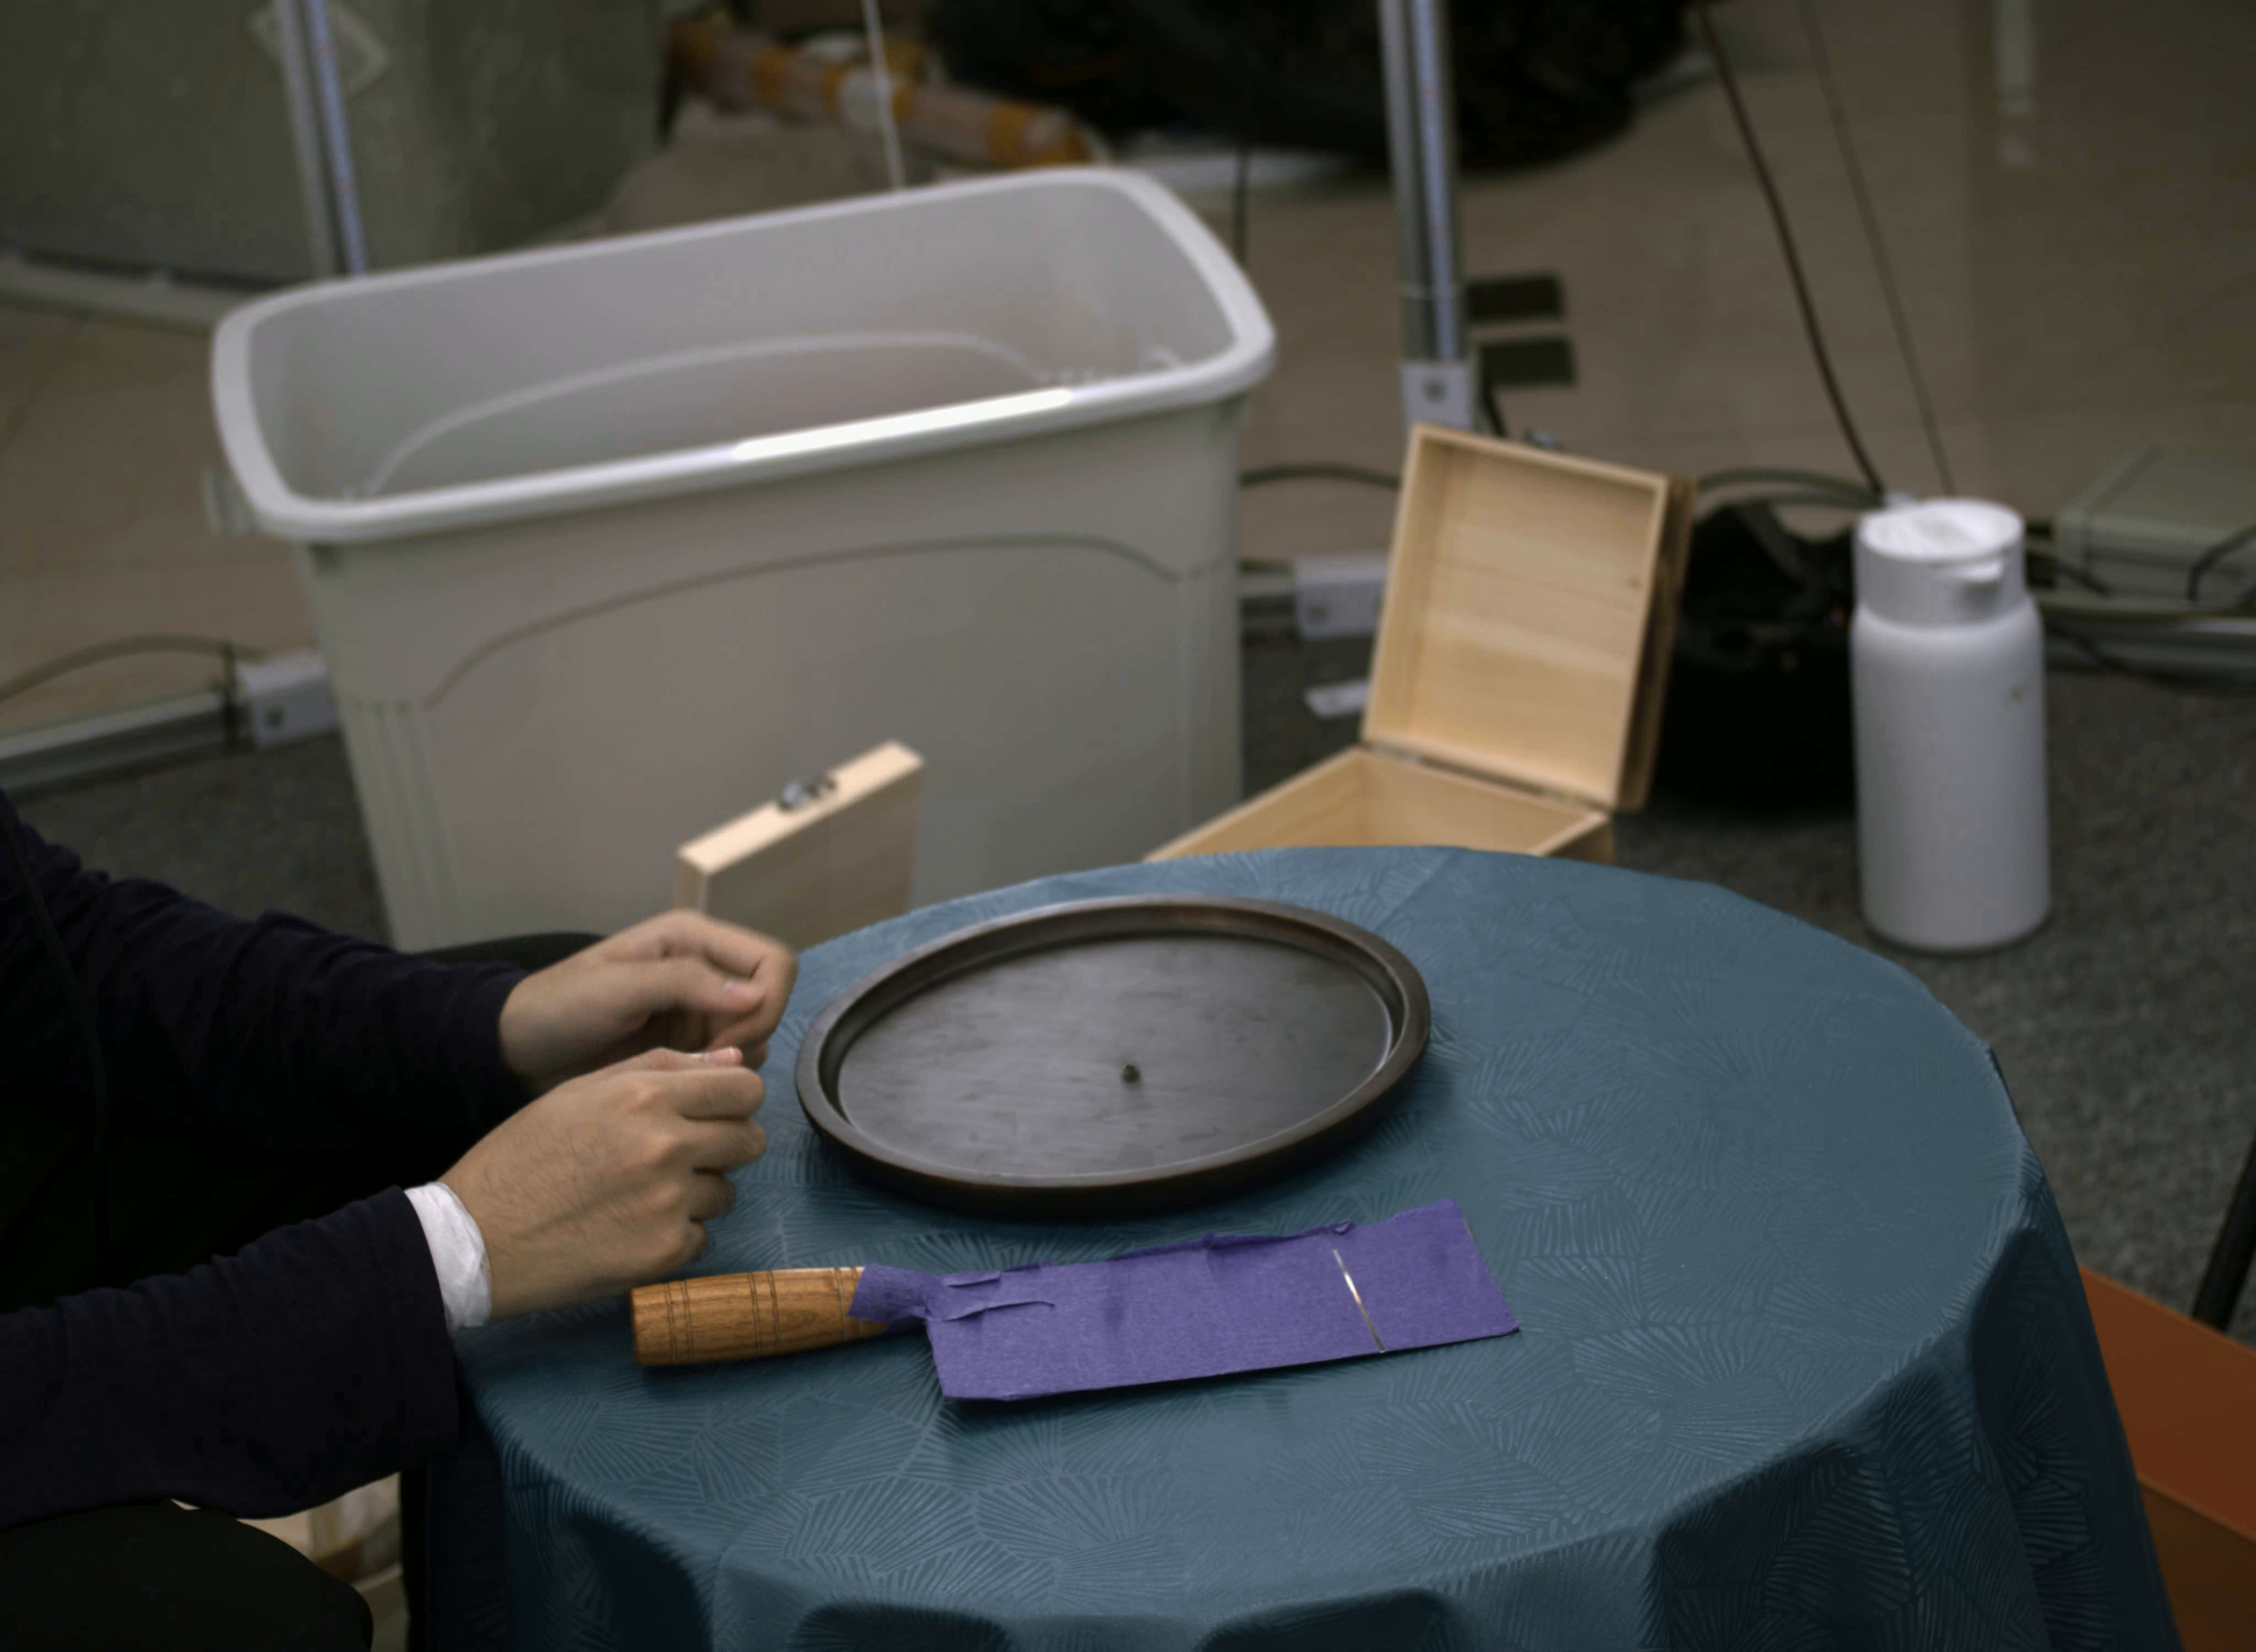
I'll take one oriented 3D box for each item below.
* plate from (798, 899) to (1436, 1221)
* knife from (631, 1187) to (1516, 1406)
[{"bbox_3d":[-0.004,0.090,2.230,0.254,0.029,0.251,-5,25,2],"label":"plate"},{"bbox_3d":[-0.020,0.175,2.046,0.314,0.033,0.102,-9,25,-6],"label":"knife"}]
